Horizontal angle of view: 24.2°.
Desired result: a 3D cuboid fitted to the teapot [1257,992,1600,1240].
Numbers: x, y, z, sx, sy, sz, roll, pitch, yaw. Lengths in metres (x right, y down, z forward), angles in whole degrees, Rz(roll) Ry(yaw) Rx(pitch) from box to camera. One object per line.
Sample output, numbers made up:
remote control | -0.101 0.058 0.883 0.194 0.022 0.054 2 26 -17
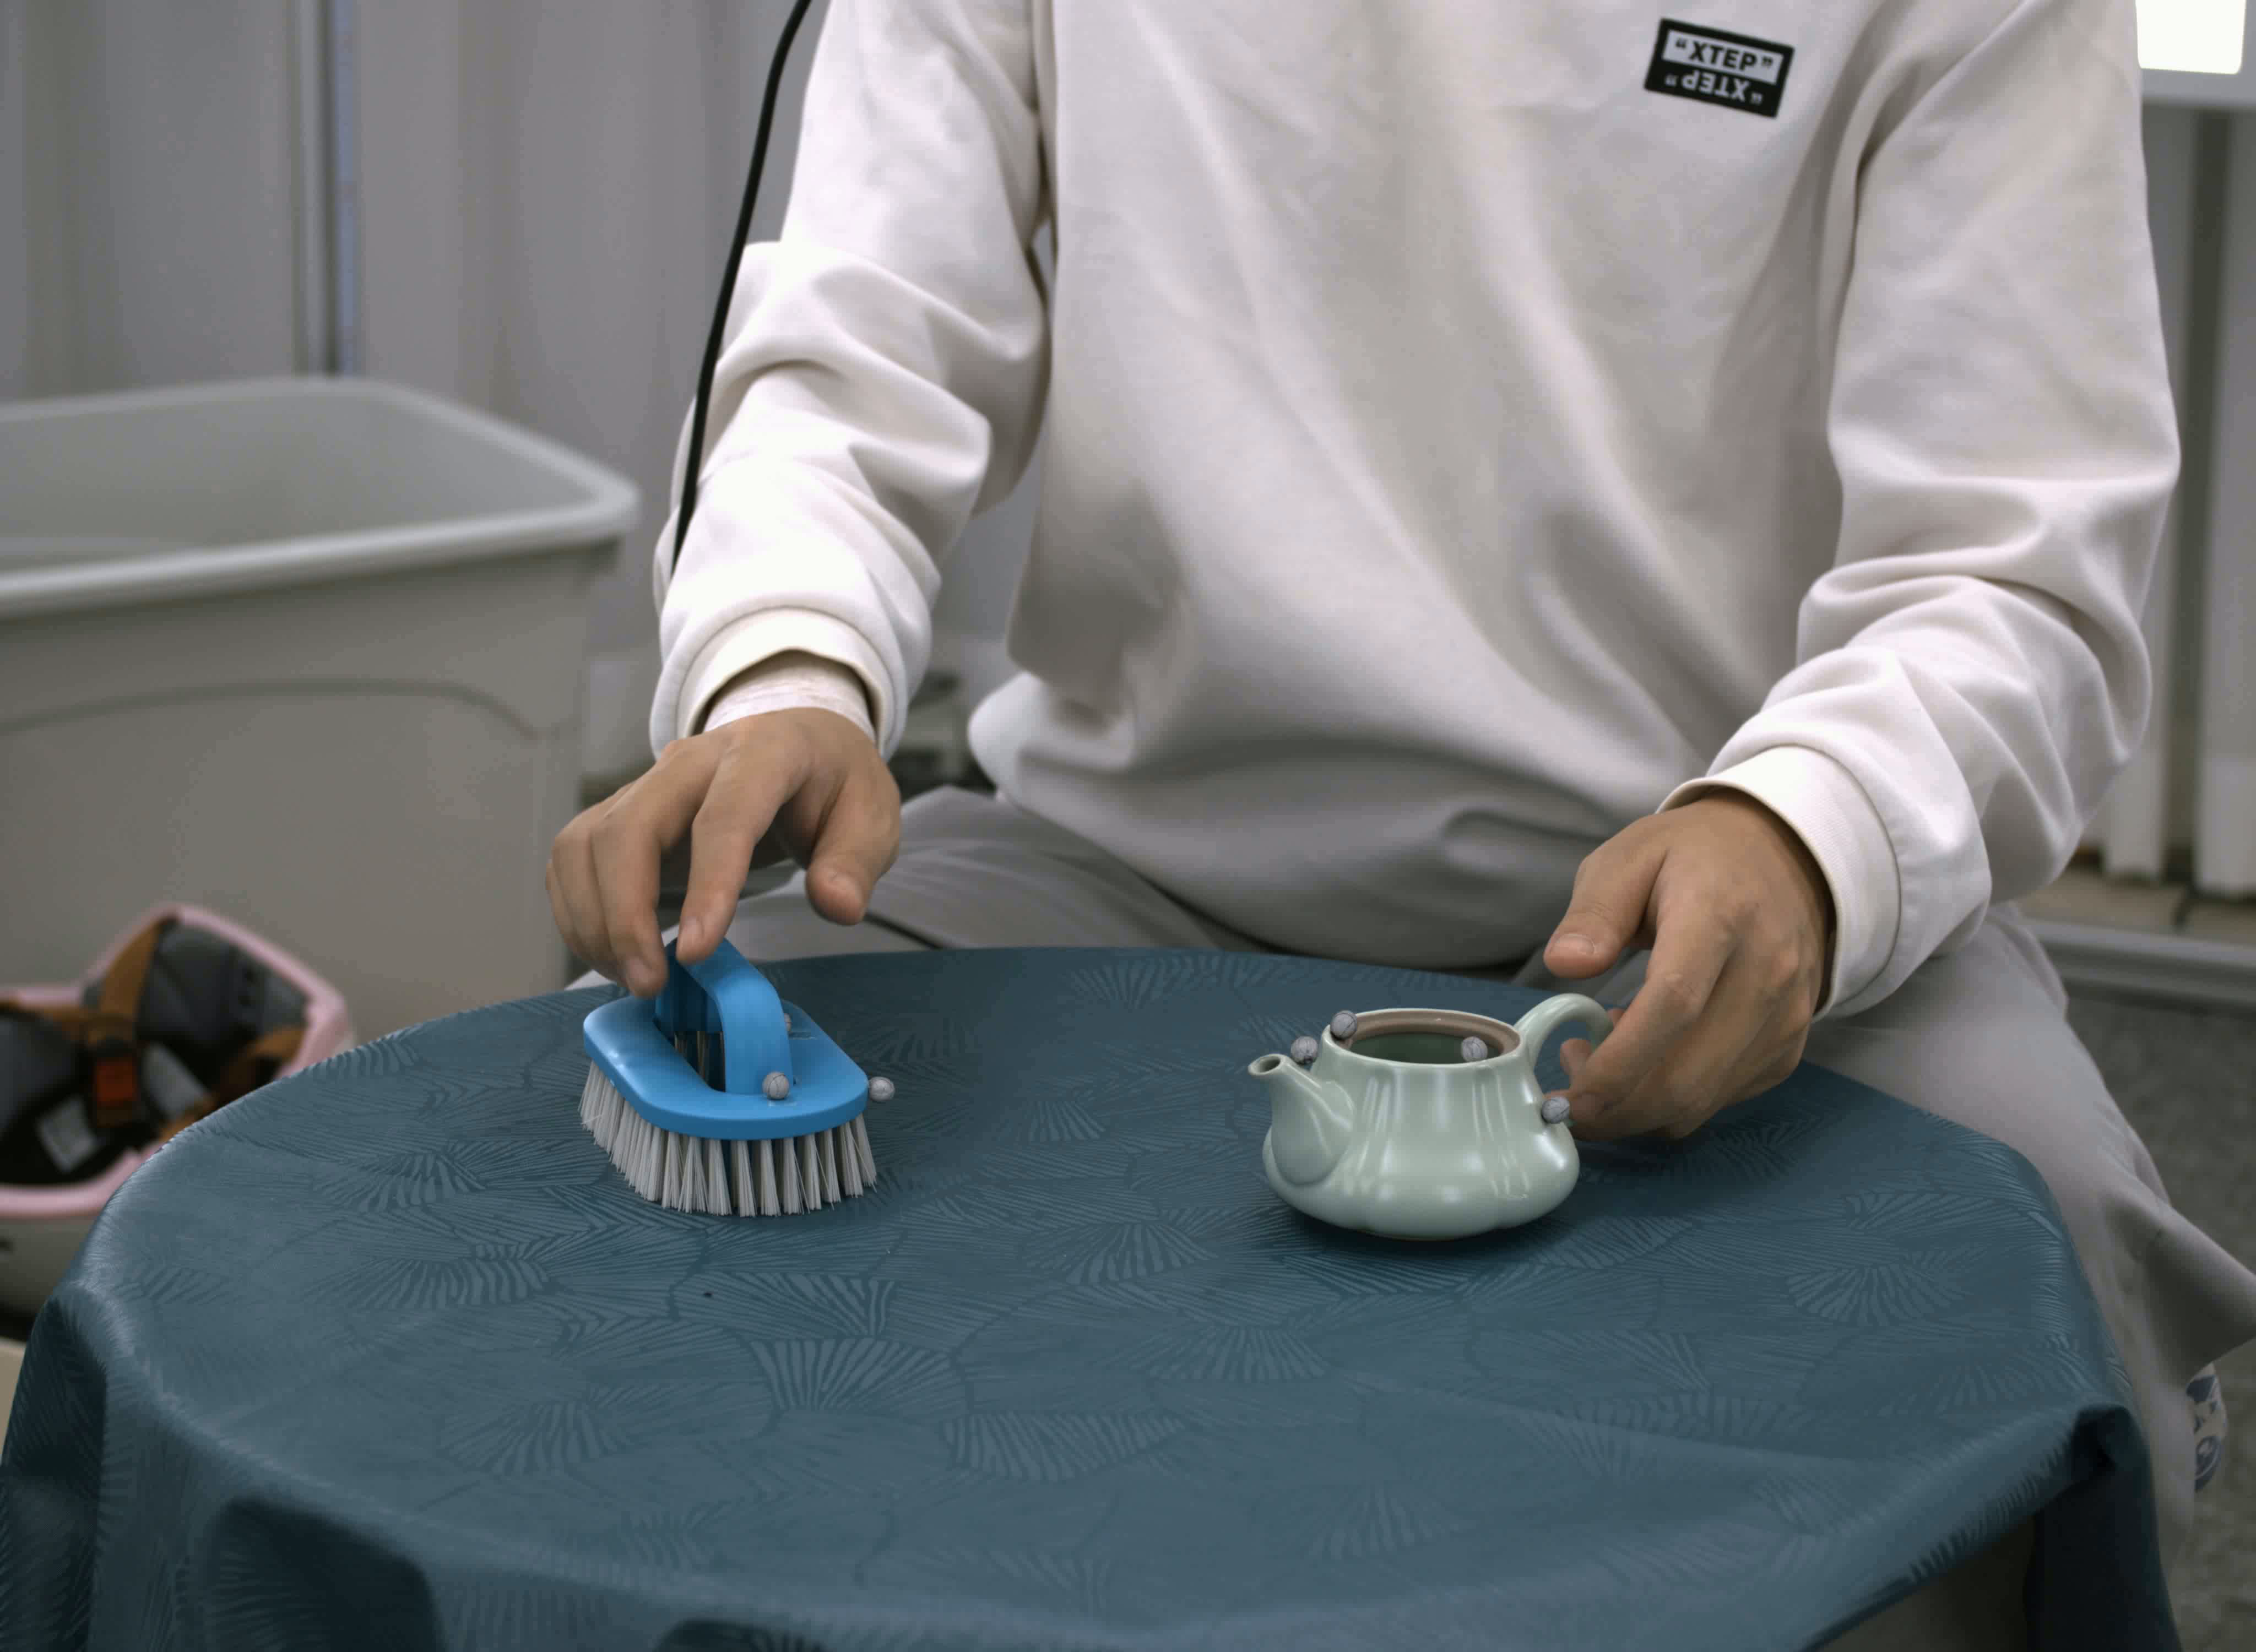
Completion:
teapot | 0.093 0.089 1.609 0.137 0.062 0.095 -10 17 -36

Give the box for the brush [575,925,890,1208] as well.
brush | -0.127 0.069 1.656 0.084 0.064 0.140 -9 17 -17
